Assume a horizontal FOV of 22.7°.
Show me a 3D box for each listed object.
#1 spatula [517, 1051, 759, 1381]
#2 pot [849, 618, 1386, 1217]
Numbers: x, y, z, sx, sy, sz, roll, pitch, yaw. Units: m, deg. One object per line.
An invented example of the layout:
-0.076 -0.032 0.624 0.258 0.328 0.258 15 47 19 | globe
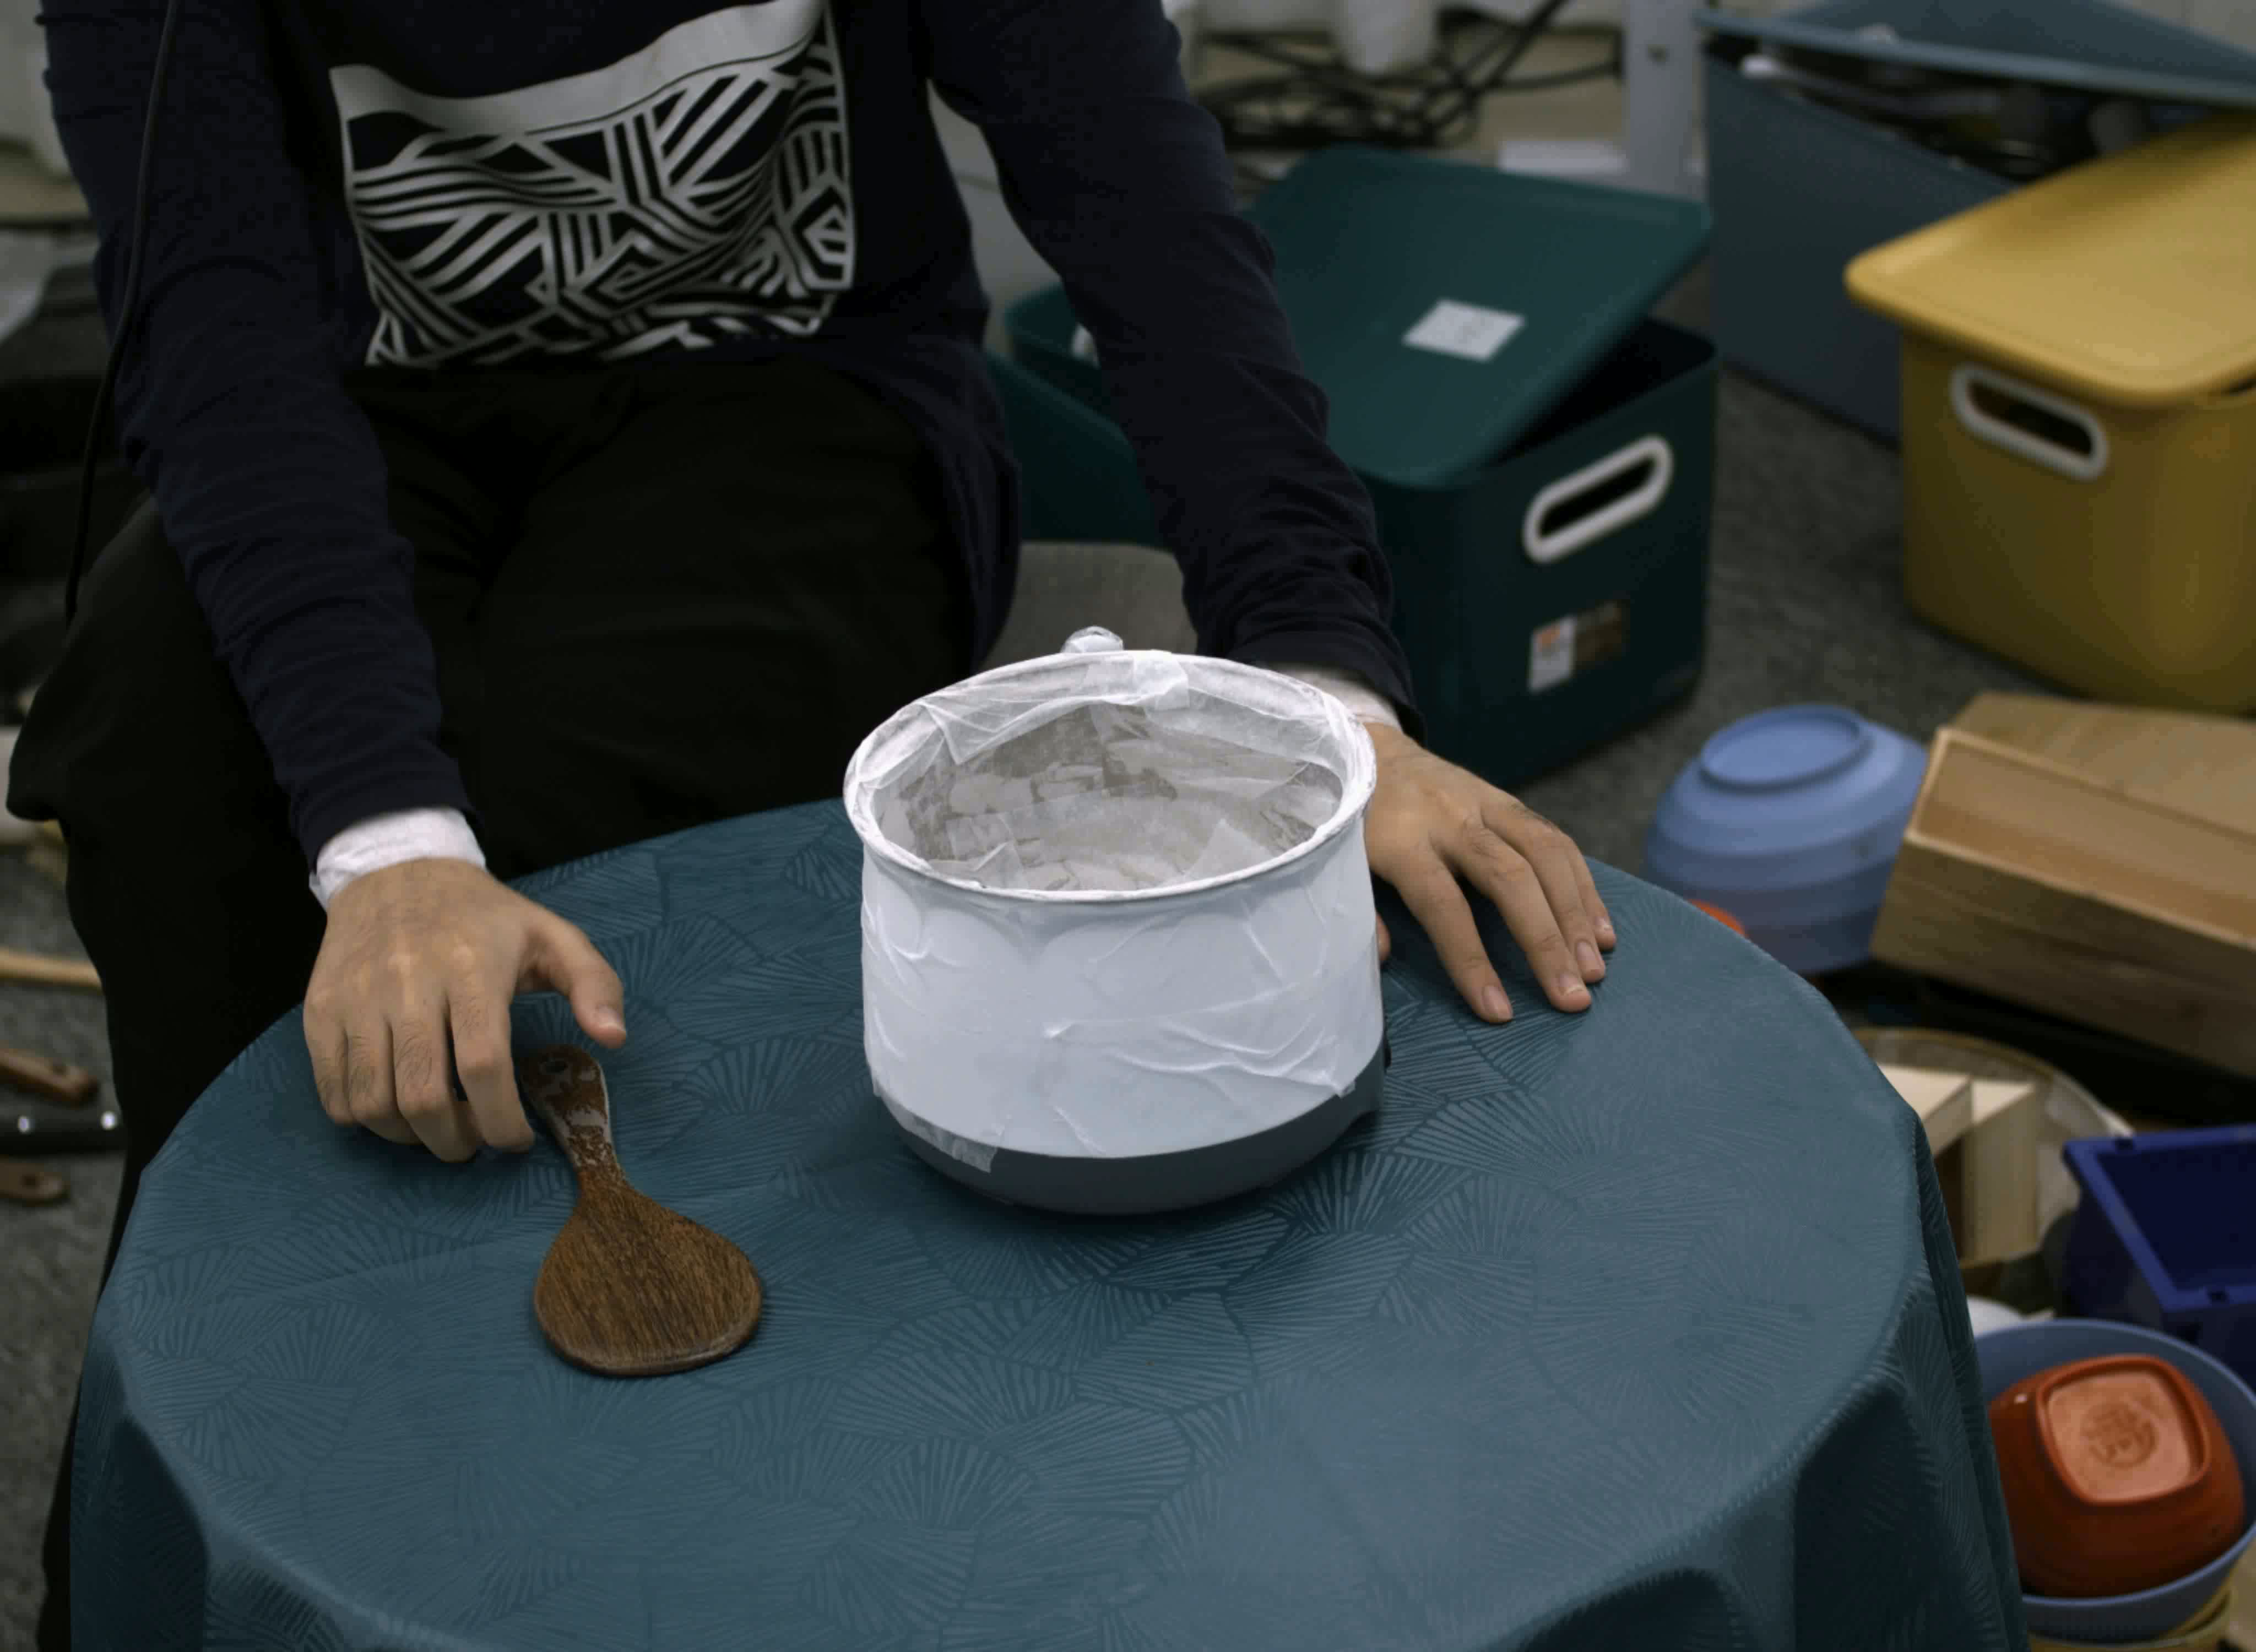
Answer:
-0.173 0.125 1.865 0.072 0.009 0.218 -8 27 -13 | spatula
-0.006 0.023 1.902 0.178 0.135 0.237 -2 28 -5 | pot
